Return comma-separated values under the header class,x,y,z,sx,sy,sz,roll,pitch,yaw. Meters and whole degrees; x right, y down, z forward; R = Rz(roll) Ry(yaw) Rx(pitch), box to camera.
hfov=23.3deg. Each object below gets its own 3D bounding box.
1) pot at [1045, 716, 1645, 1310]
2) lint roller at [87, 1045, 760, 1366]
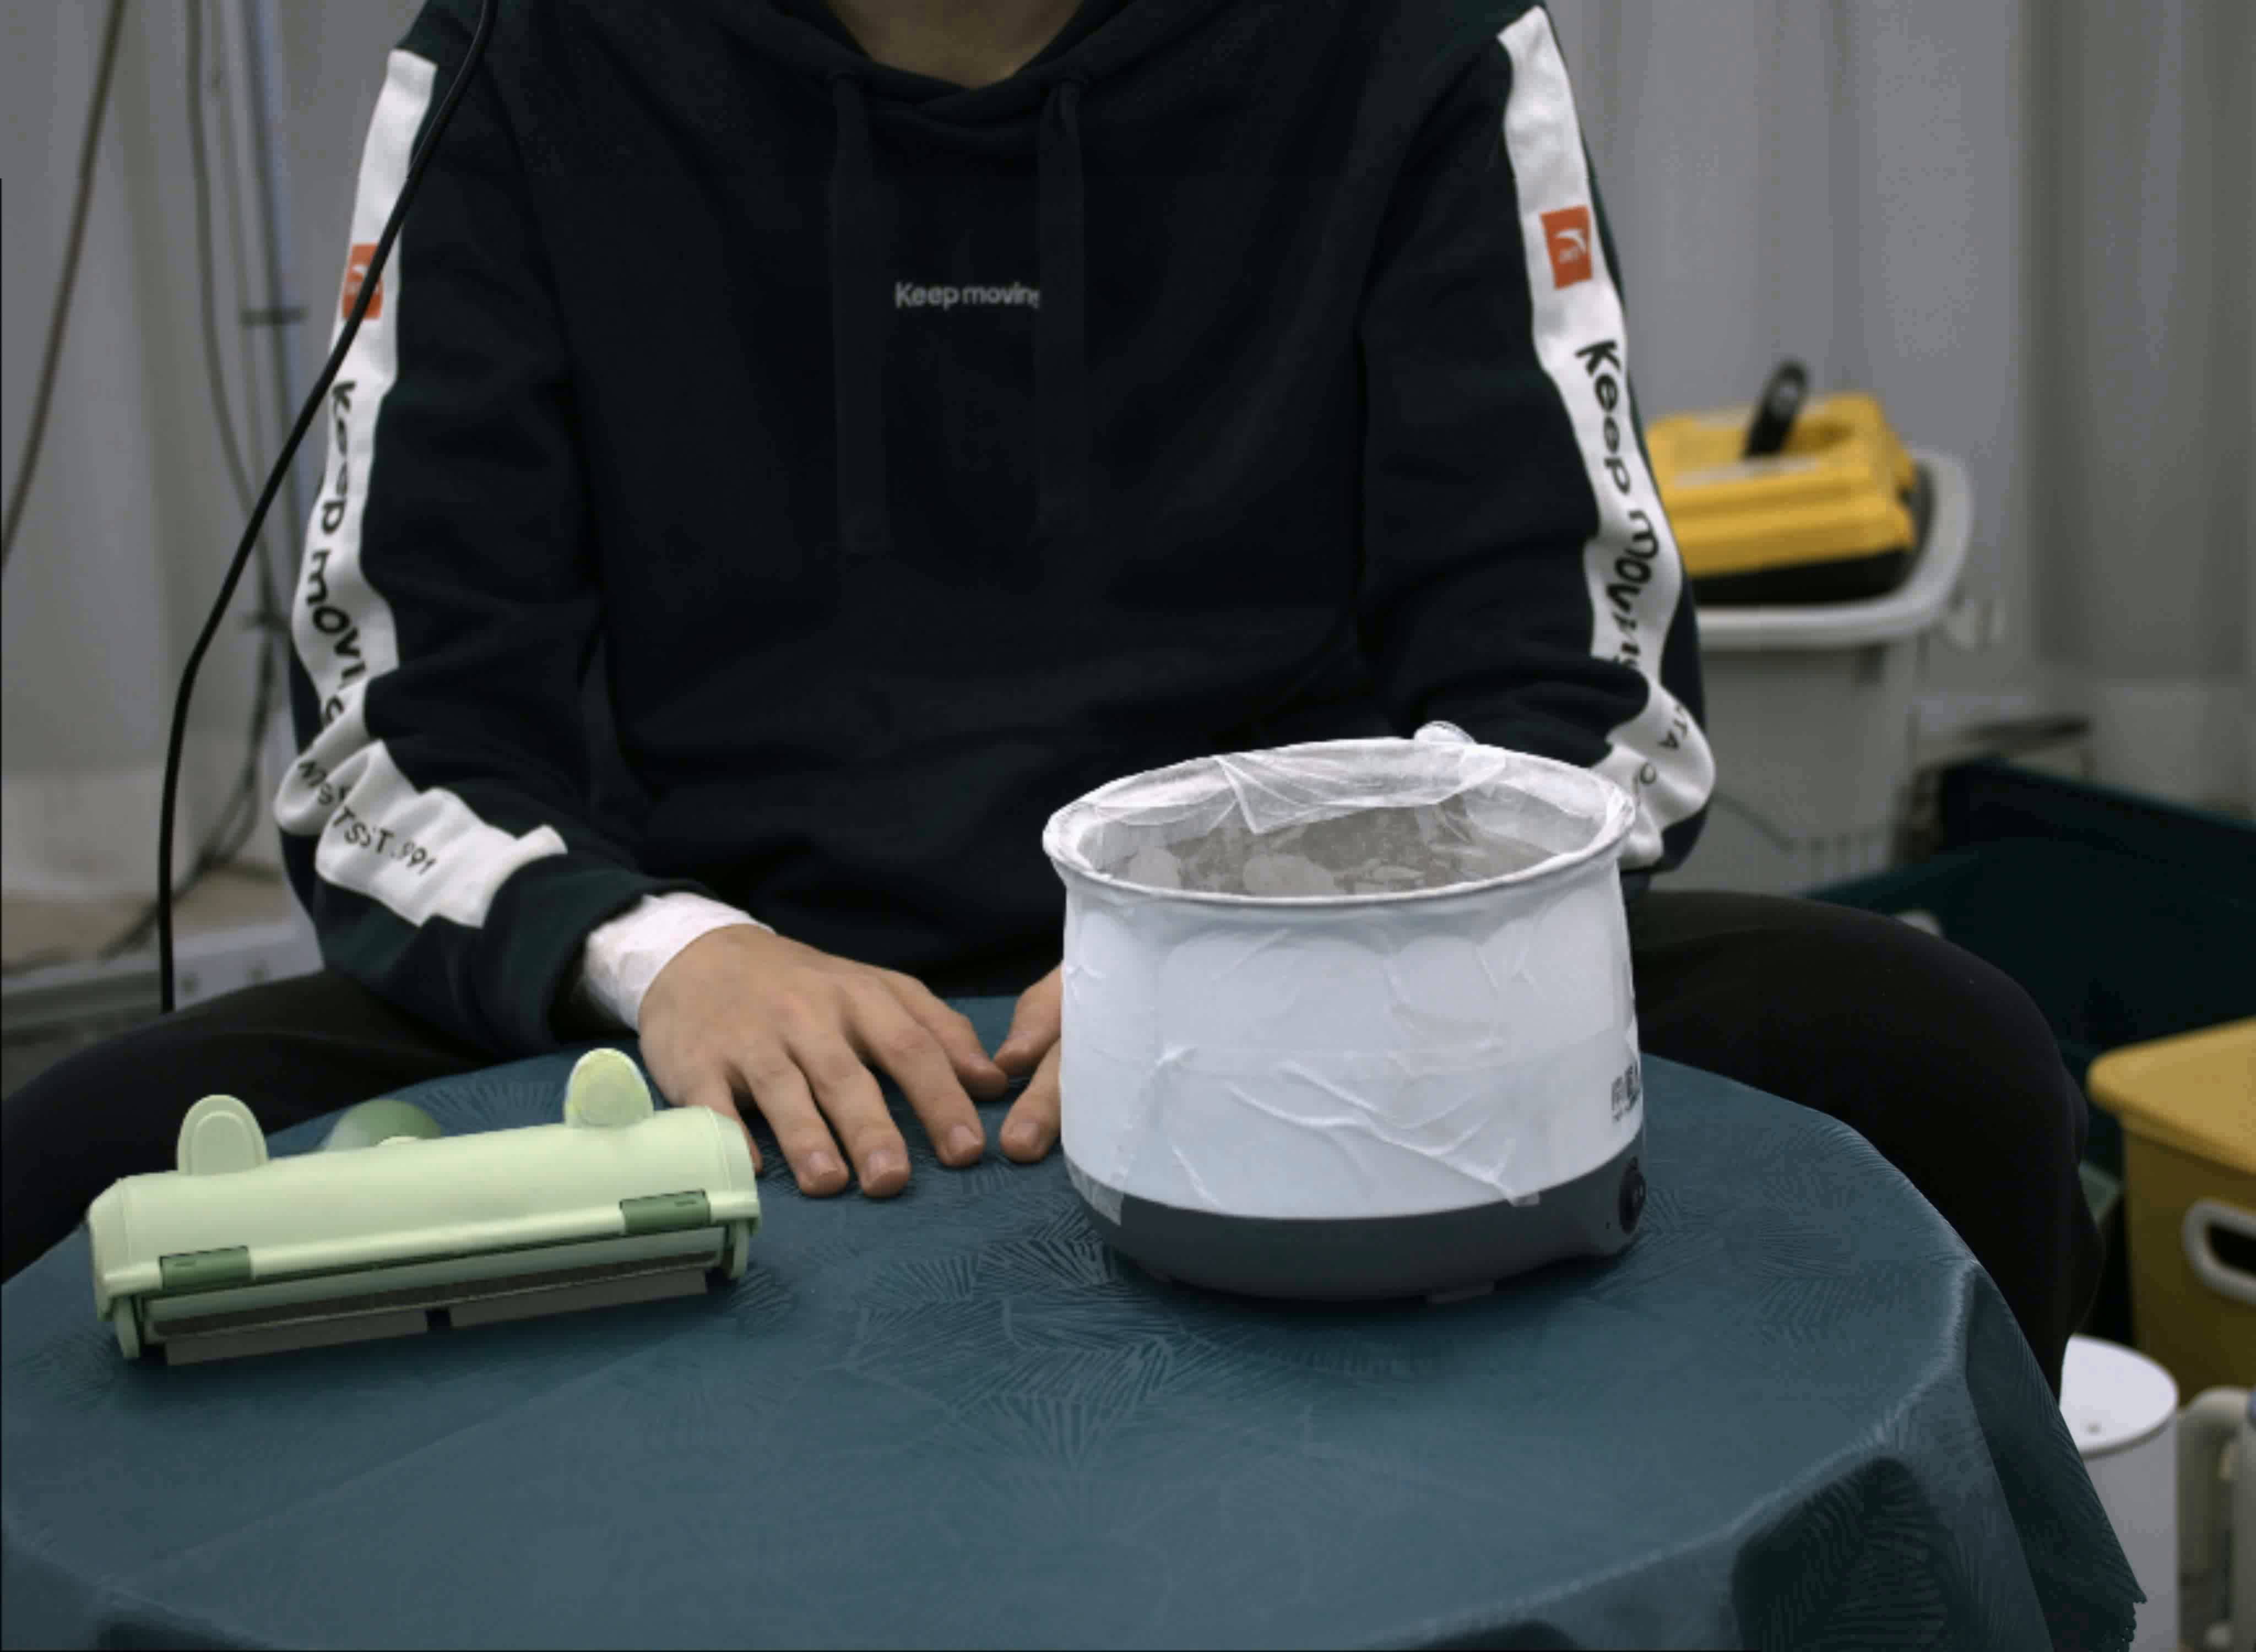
class,x,y,z,sx,sy,sz,roll,pitch,yaw
pot,0.076,0.051,1.671,0.179,0.136,0.234,3,17,20
lint roller,-0.223,0.097,1.681,0.198,0.082,0.185,-7,20,-12
